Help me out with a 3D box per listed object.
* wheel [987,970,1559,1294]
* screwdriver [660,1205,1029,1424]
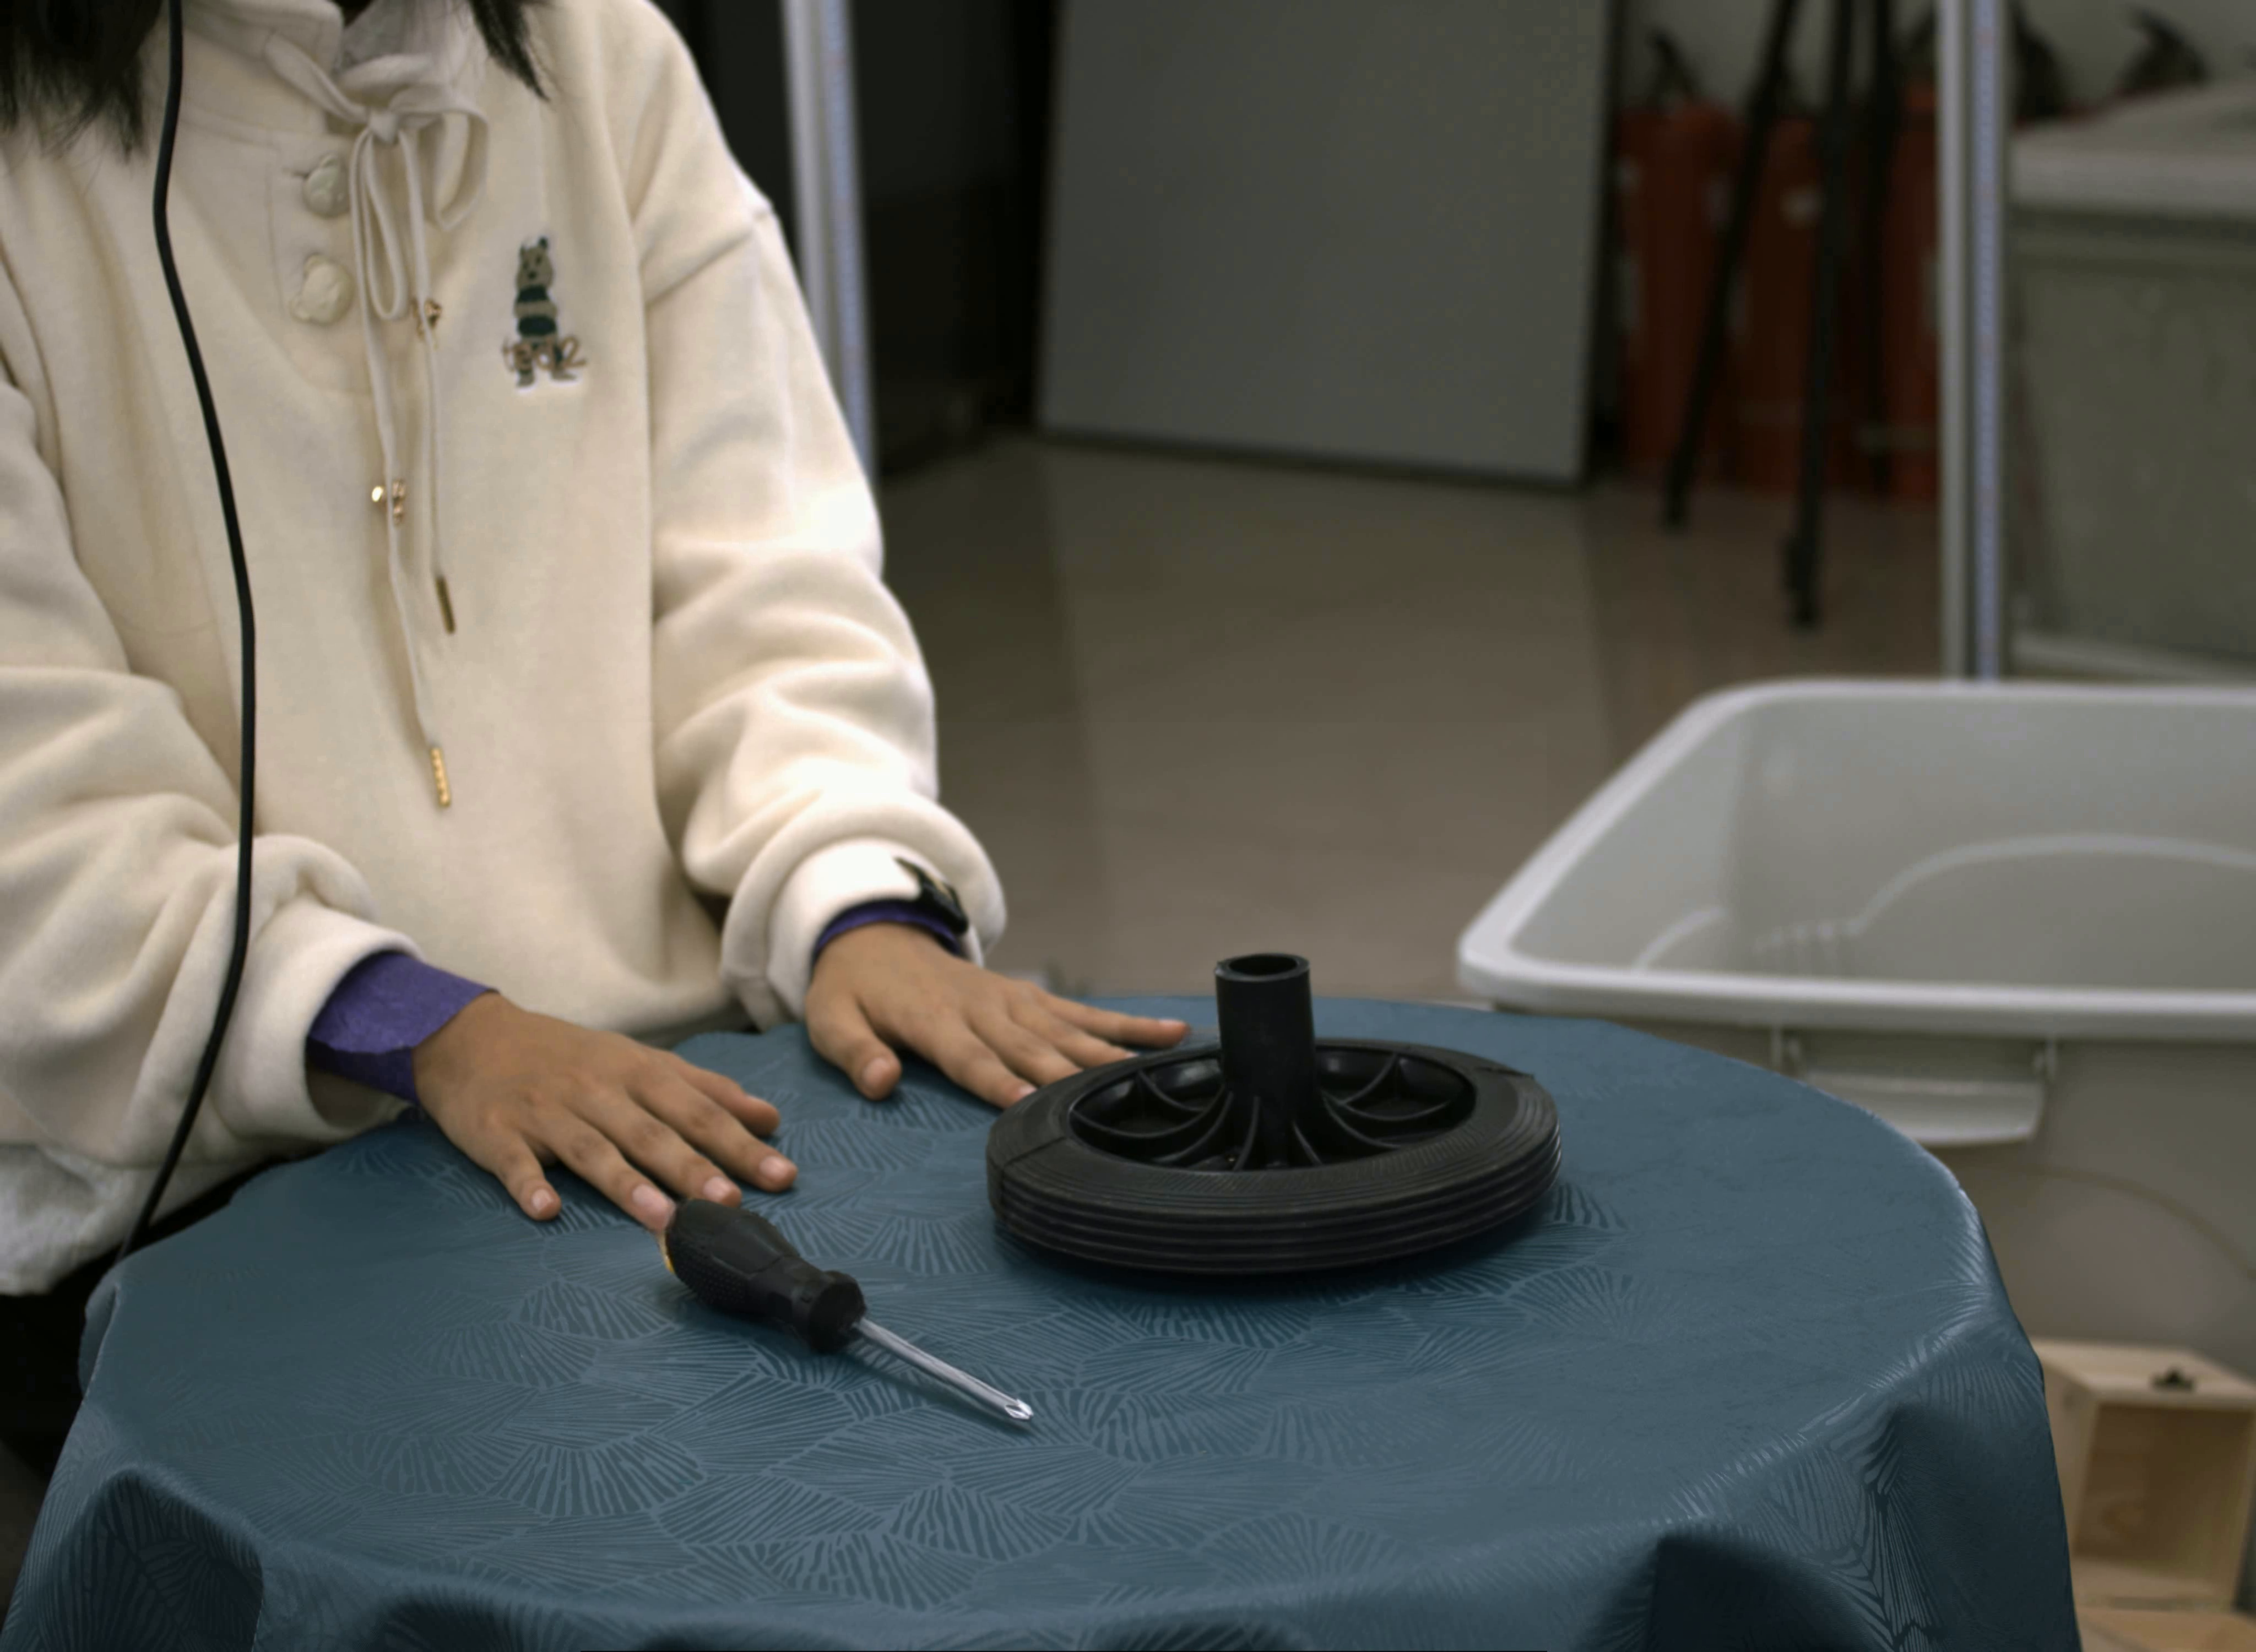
[{"bbox_3d":[0.045,0.089,1.733,0.187,0.080,0.188,0,16,17],"label":"wheel"},{"bbox_3d":[-0.082,0.148,1.633,0.031,0.032,0.198,-13,18,-35],"label":"screwdriver"}]
